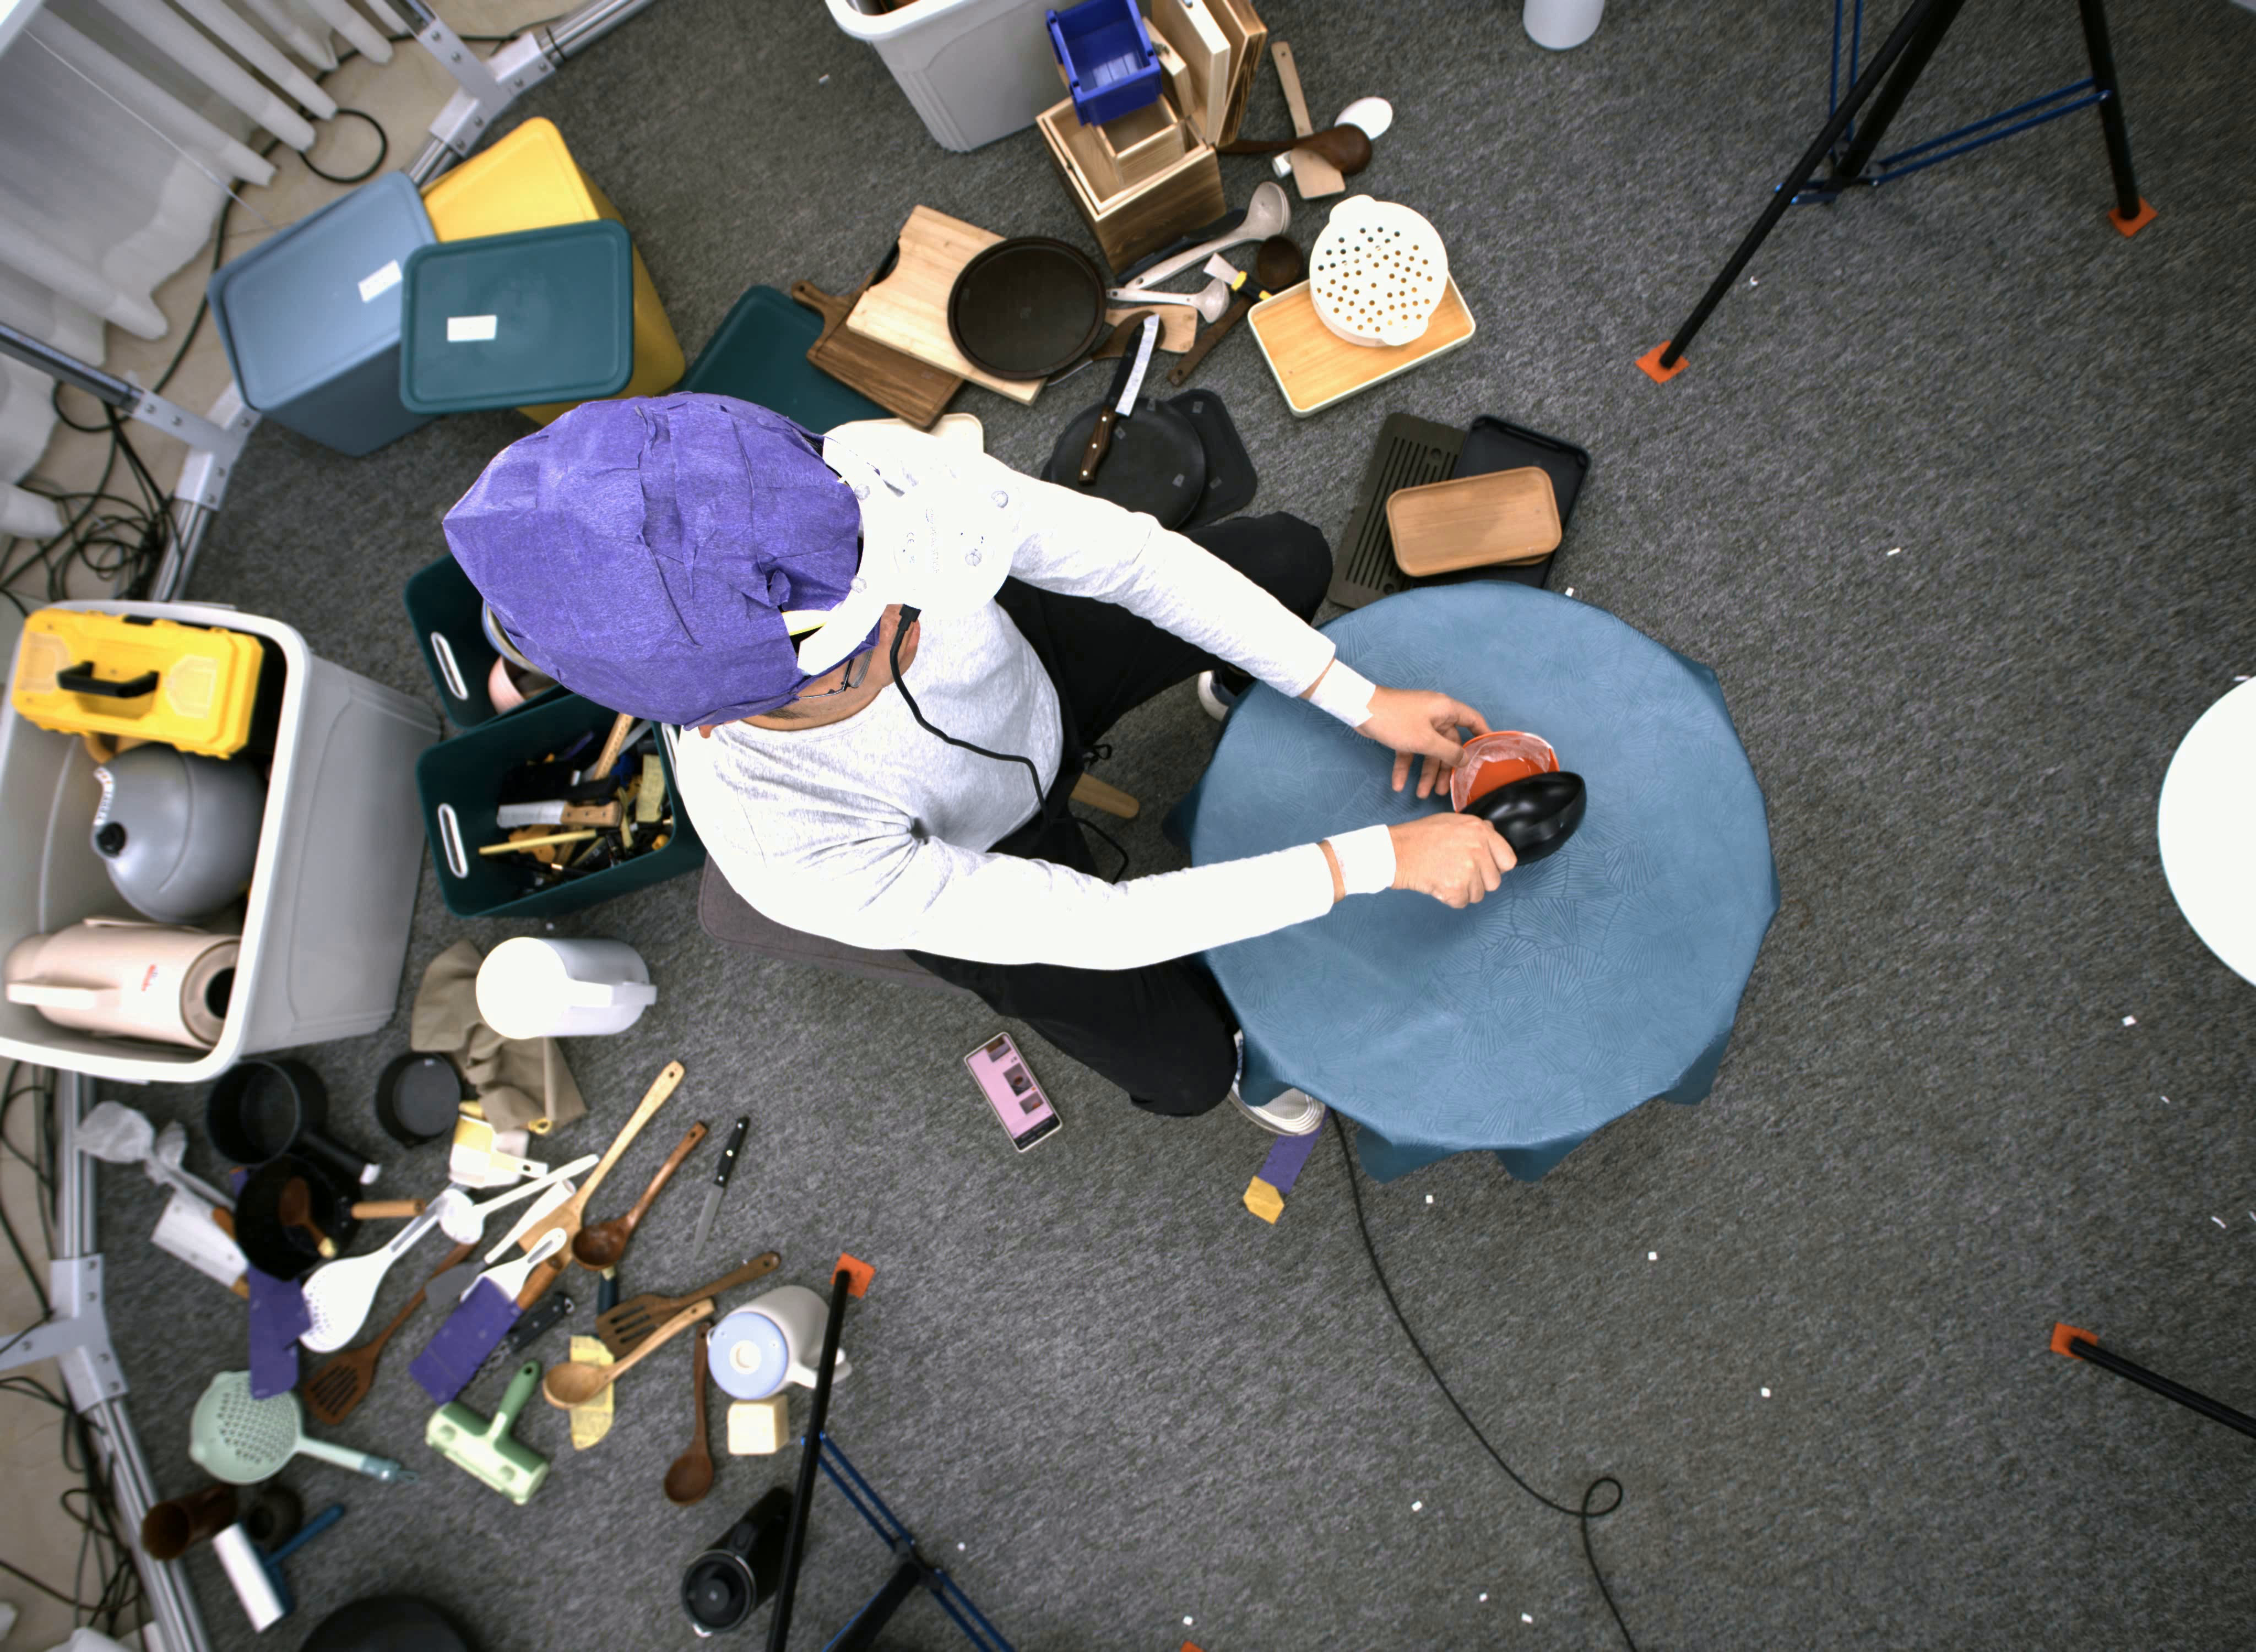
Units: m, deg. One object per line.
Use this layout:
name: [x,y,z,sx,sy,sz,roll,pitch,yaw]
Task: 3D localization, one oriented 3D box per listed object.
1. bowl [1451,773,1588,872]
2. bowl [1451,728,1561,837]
bowl: [0.389,0.003,1.342,0.141,0.138,0.050,-30,104,6]
bowl: [0.386,-0.047,1.414,0.119,0.051,0.119,0,93,6]
